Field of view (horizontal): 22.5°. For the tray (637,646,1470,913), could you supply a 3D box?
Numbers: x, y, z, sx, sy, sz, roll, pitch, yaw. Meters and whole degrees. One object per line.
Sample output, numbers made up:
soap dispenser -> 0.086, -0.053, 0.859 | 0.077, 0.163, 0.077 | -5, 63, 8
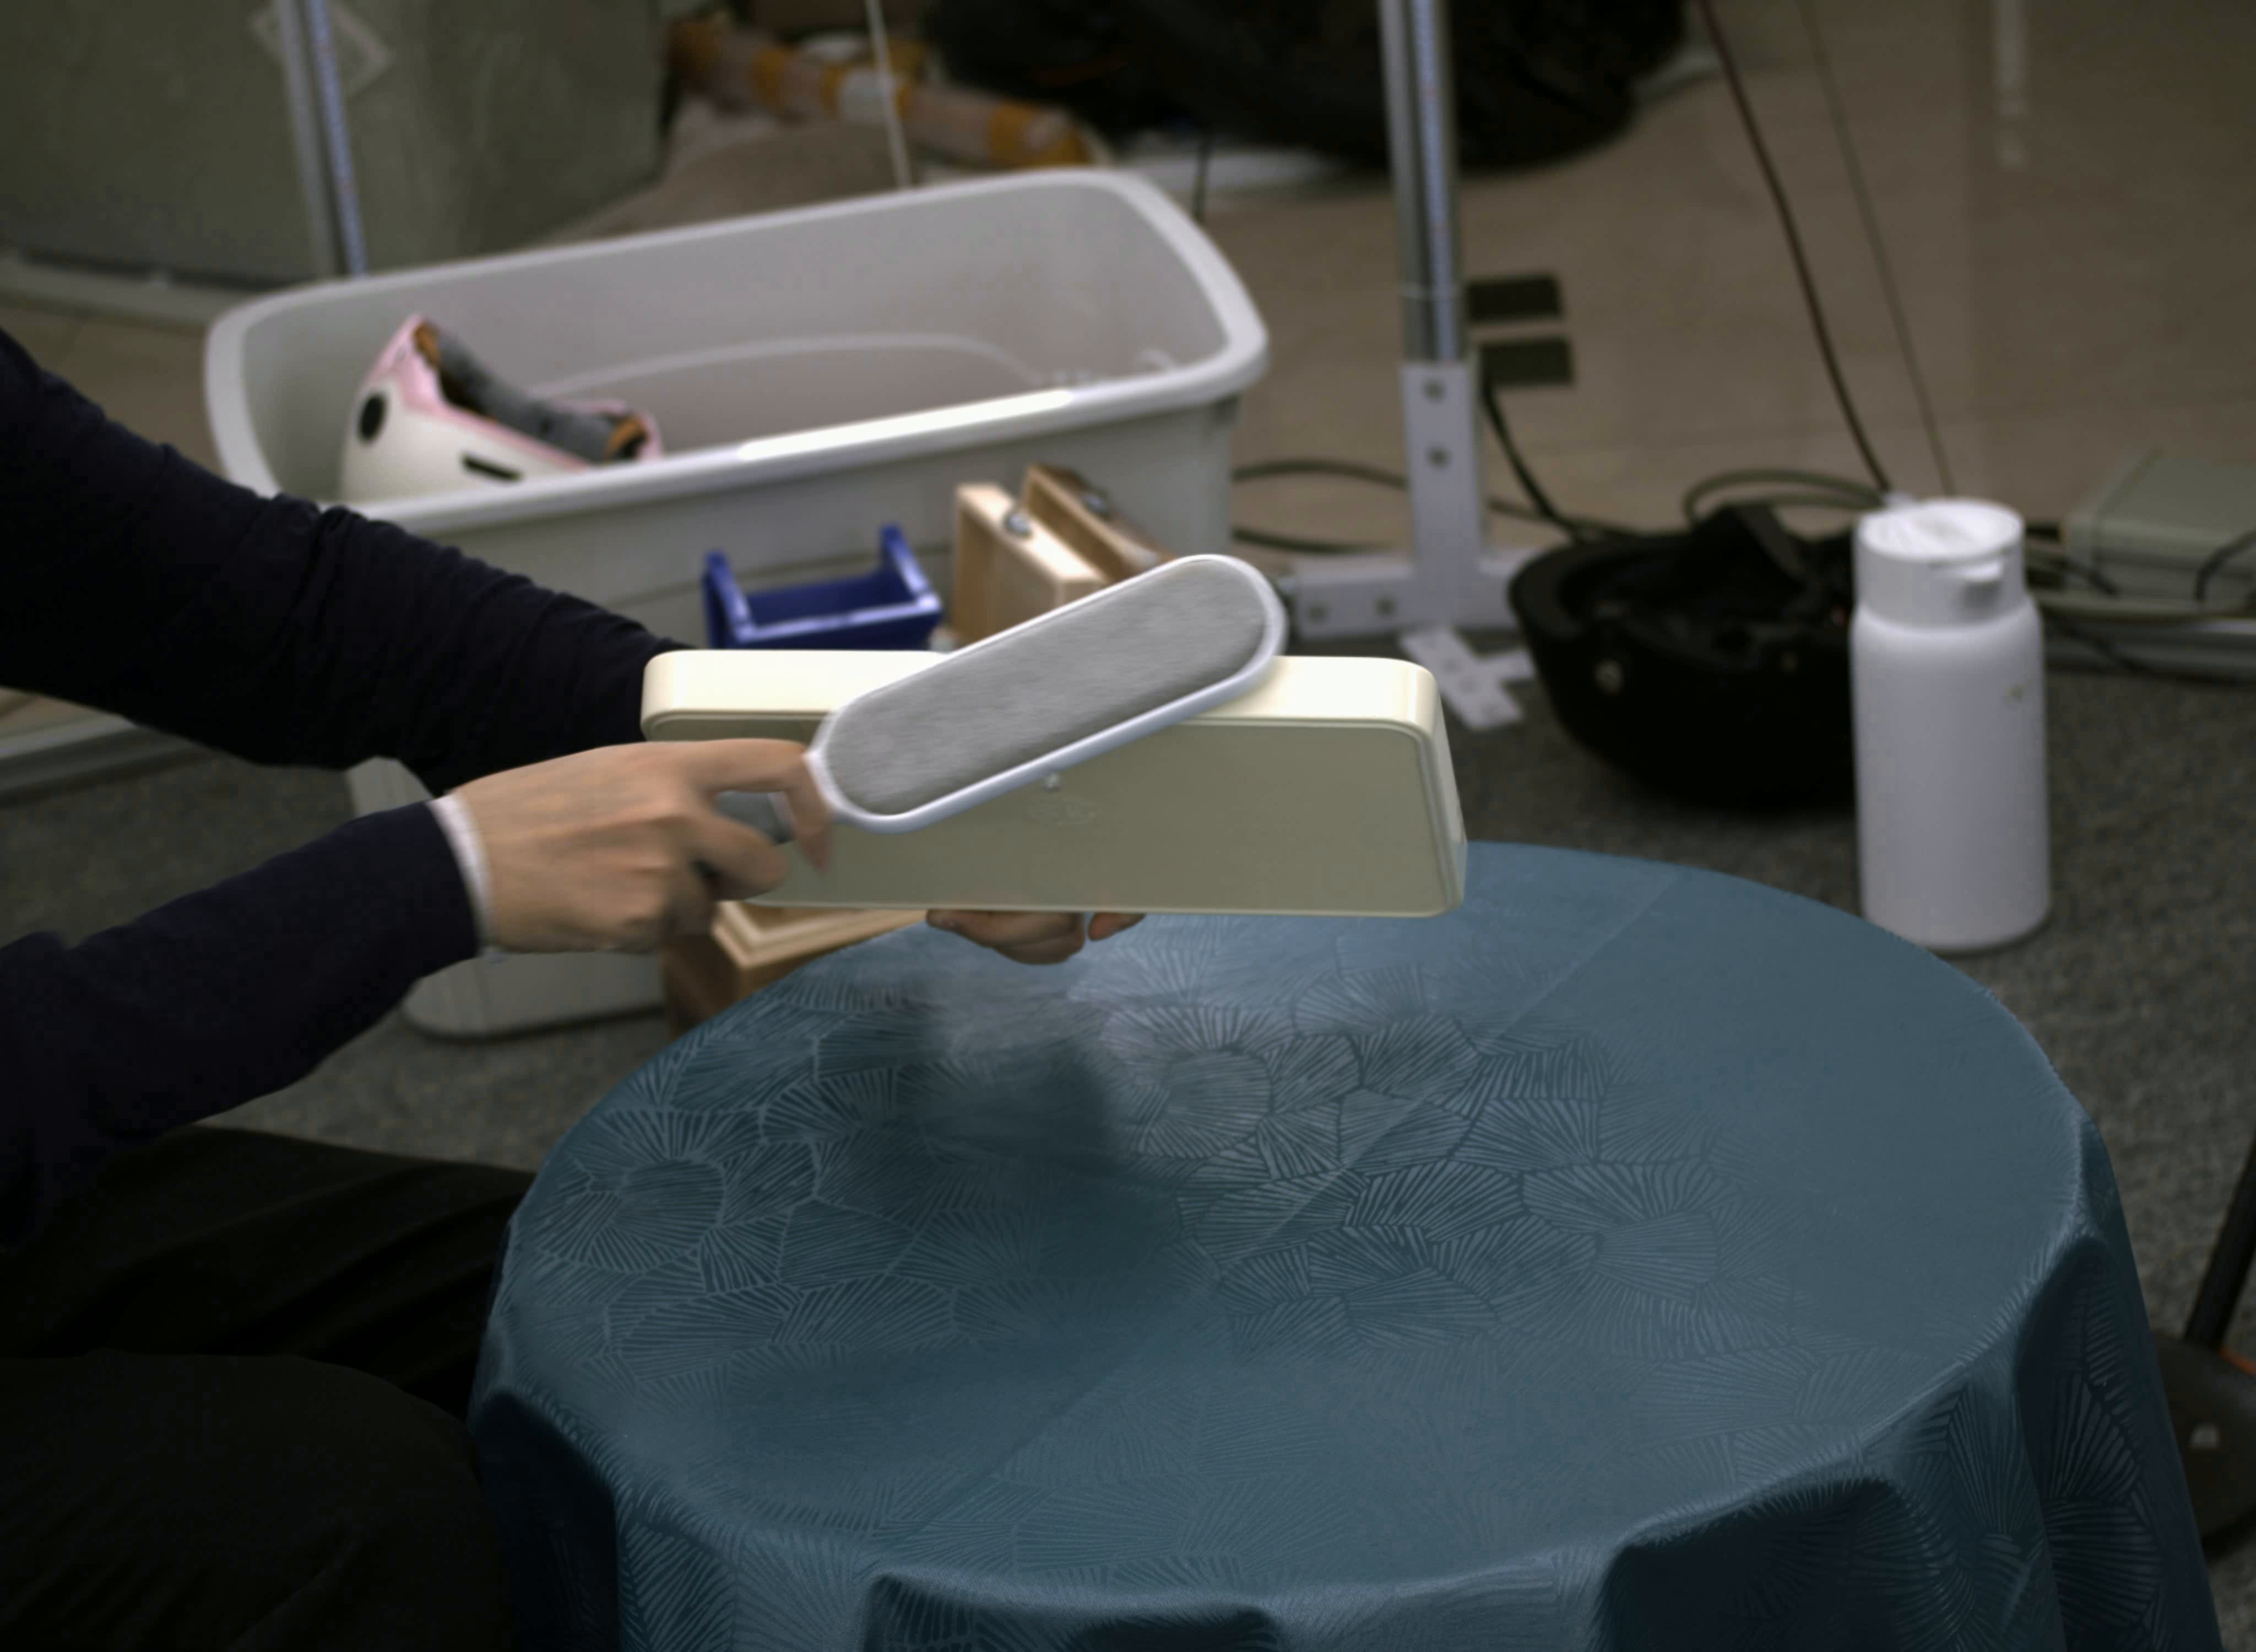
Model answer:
tray -> -0.025, -0.015, 2.169 | 0.300, 0.194, 0.027 | 0, 66, 9

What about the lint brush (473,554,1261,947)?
lint brush -> -0.095, -0.025, 2.065 | 0.308, 0.059, 0.021 | -23, -17, -2
